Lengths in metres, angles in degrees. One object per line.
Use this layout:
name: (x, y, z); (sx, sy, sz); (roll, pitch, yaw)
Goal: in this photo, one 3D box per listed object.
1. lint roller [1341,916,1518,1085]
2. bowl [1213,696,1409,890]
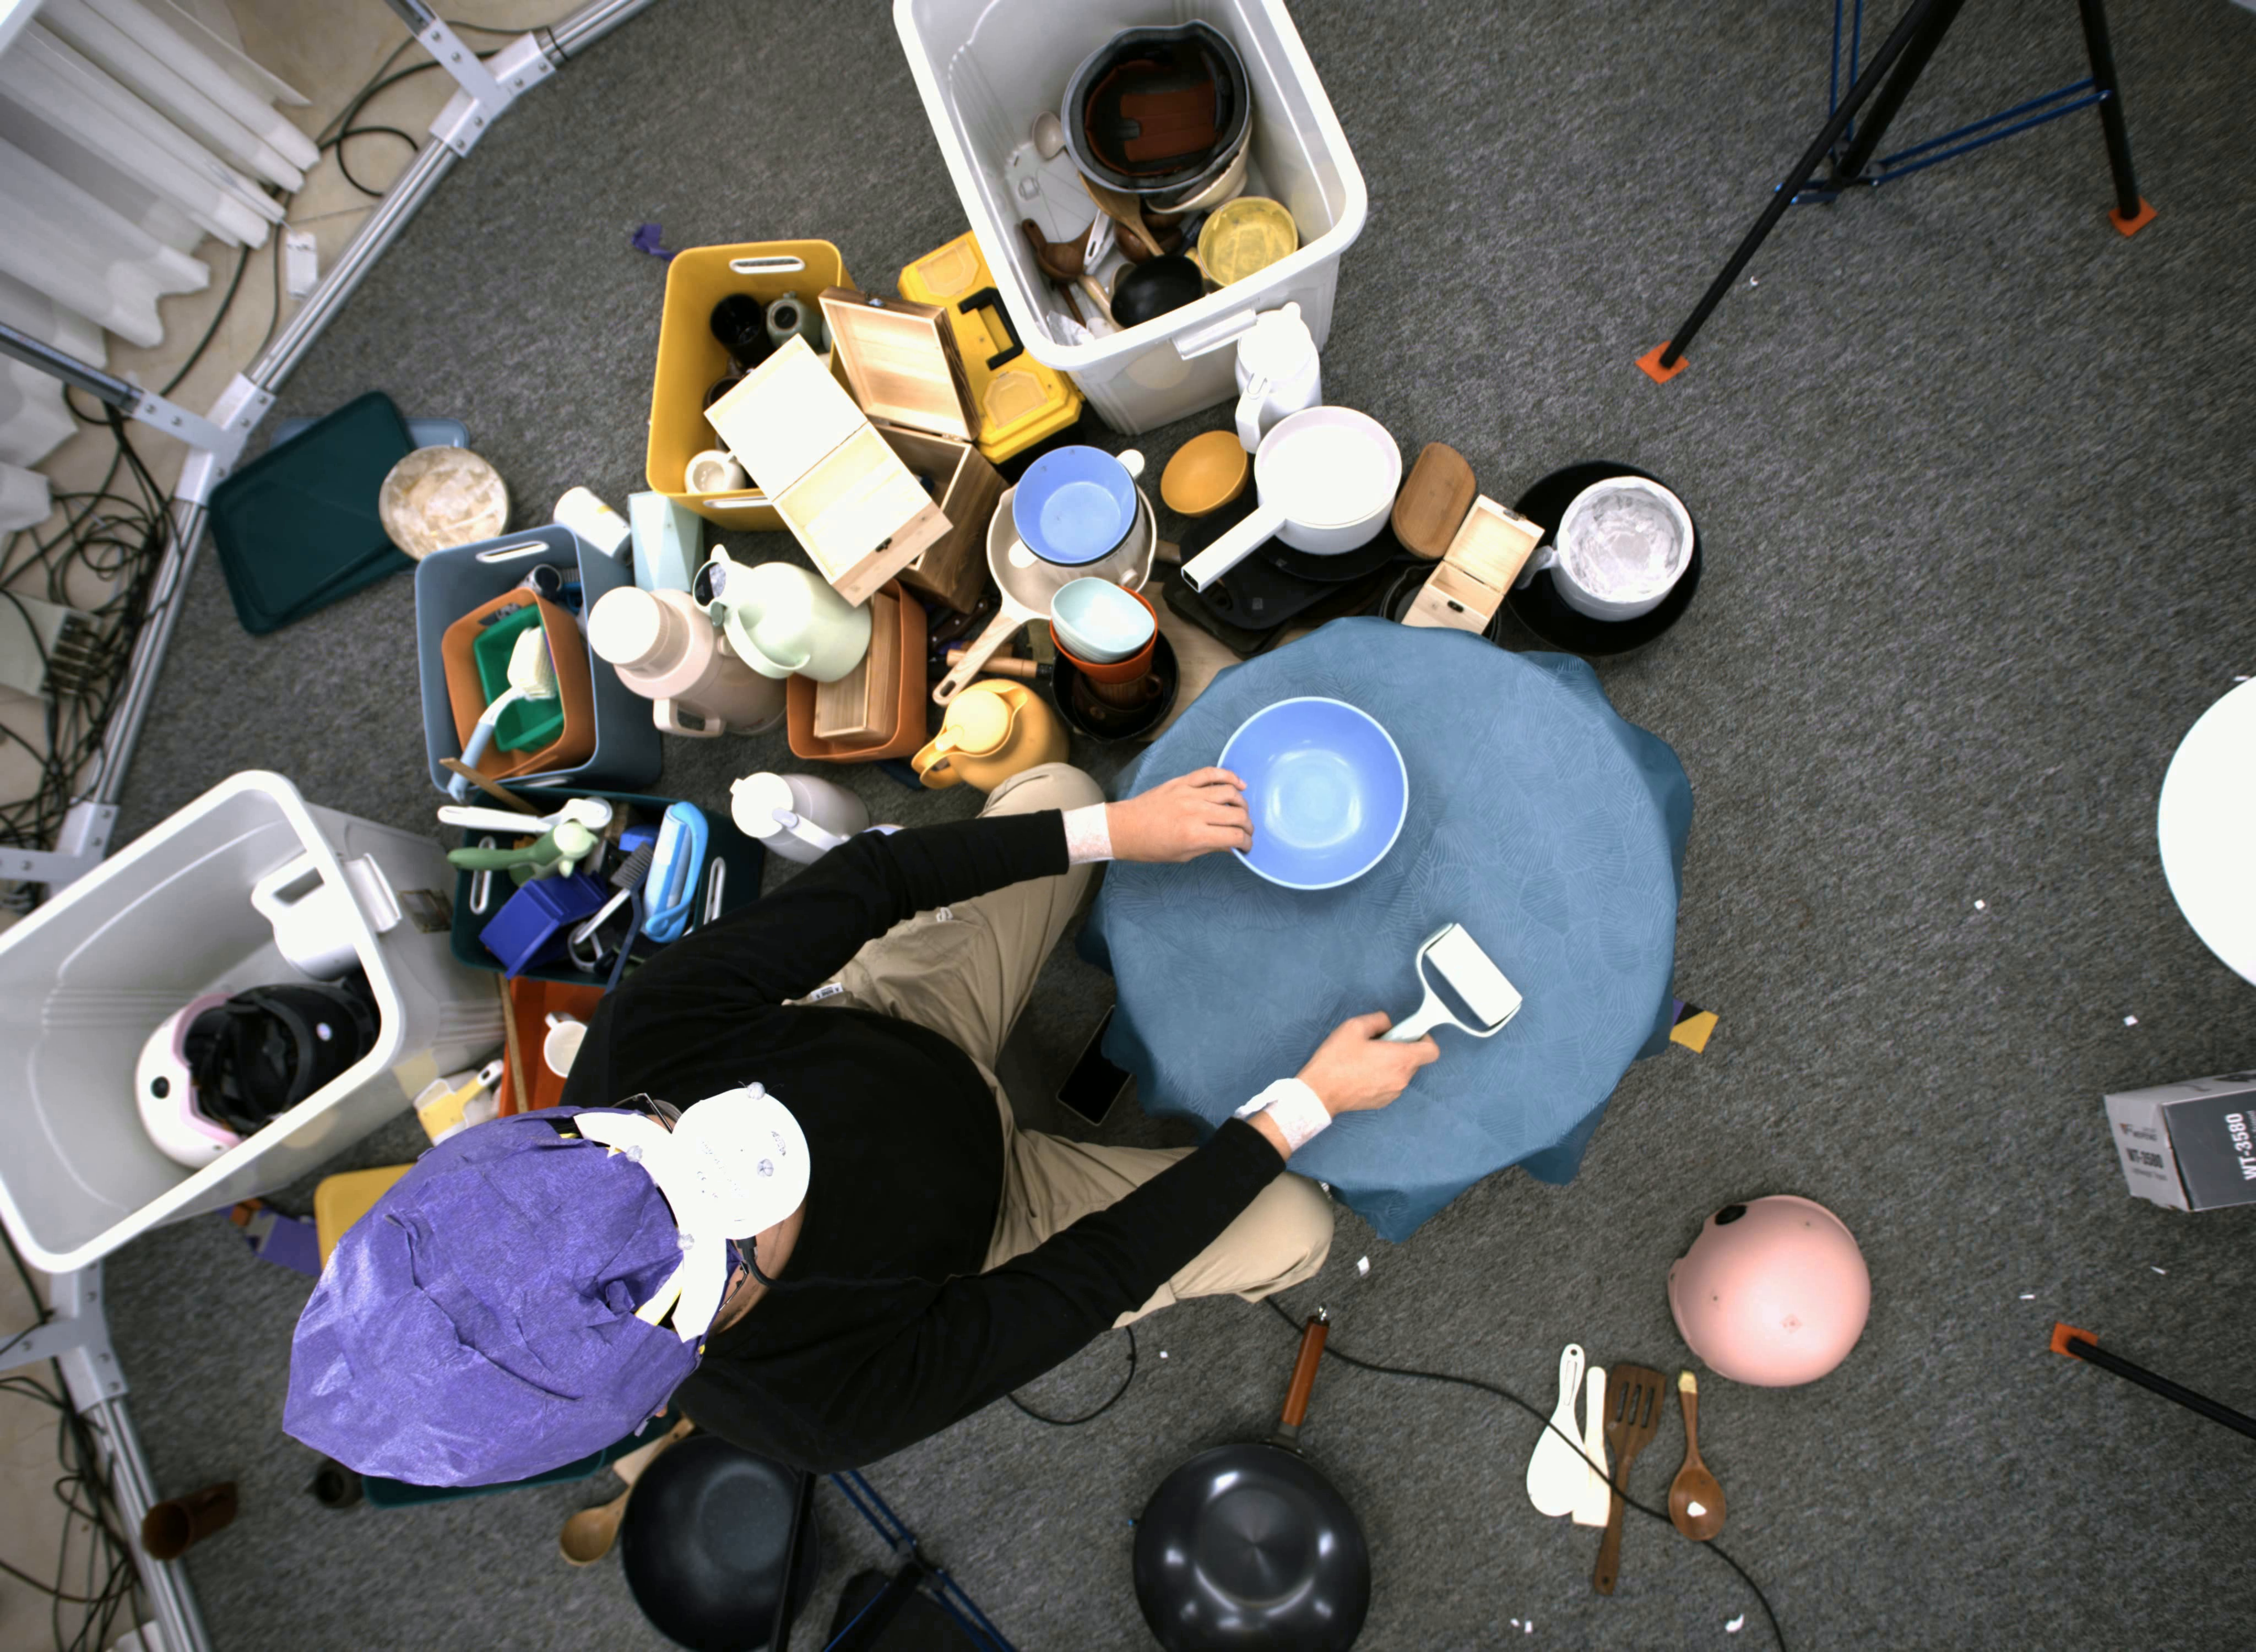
lint roller: (0.293, 0.191, 1.410); (0.197, 0.049, 0.116); (-41, 86, -2)
bowl: (0.190, -0.031, 1.432); (0.197, 0.095, 0.196); (-1, 87, 10)
